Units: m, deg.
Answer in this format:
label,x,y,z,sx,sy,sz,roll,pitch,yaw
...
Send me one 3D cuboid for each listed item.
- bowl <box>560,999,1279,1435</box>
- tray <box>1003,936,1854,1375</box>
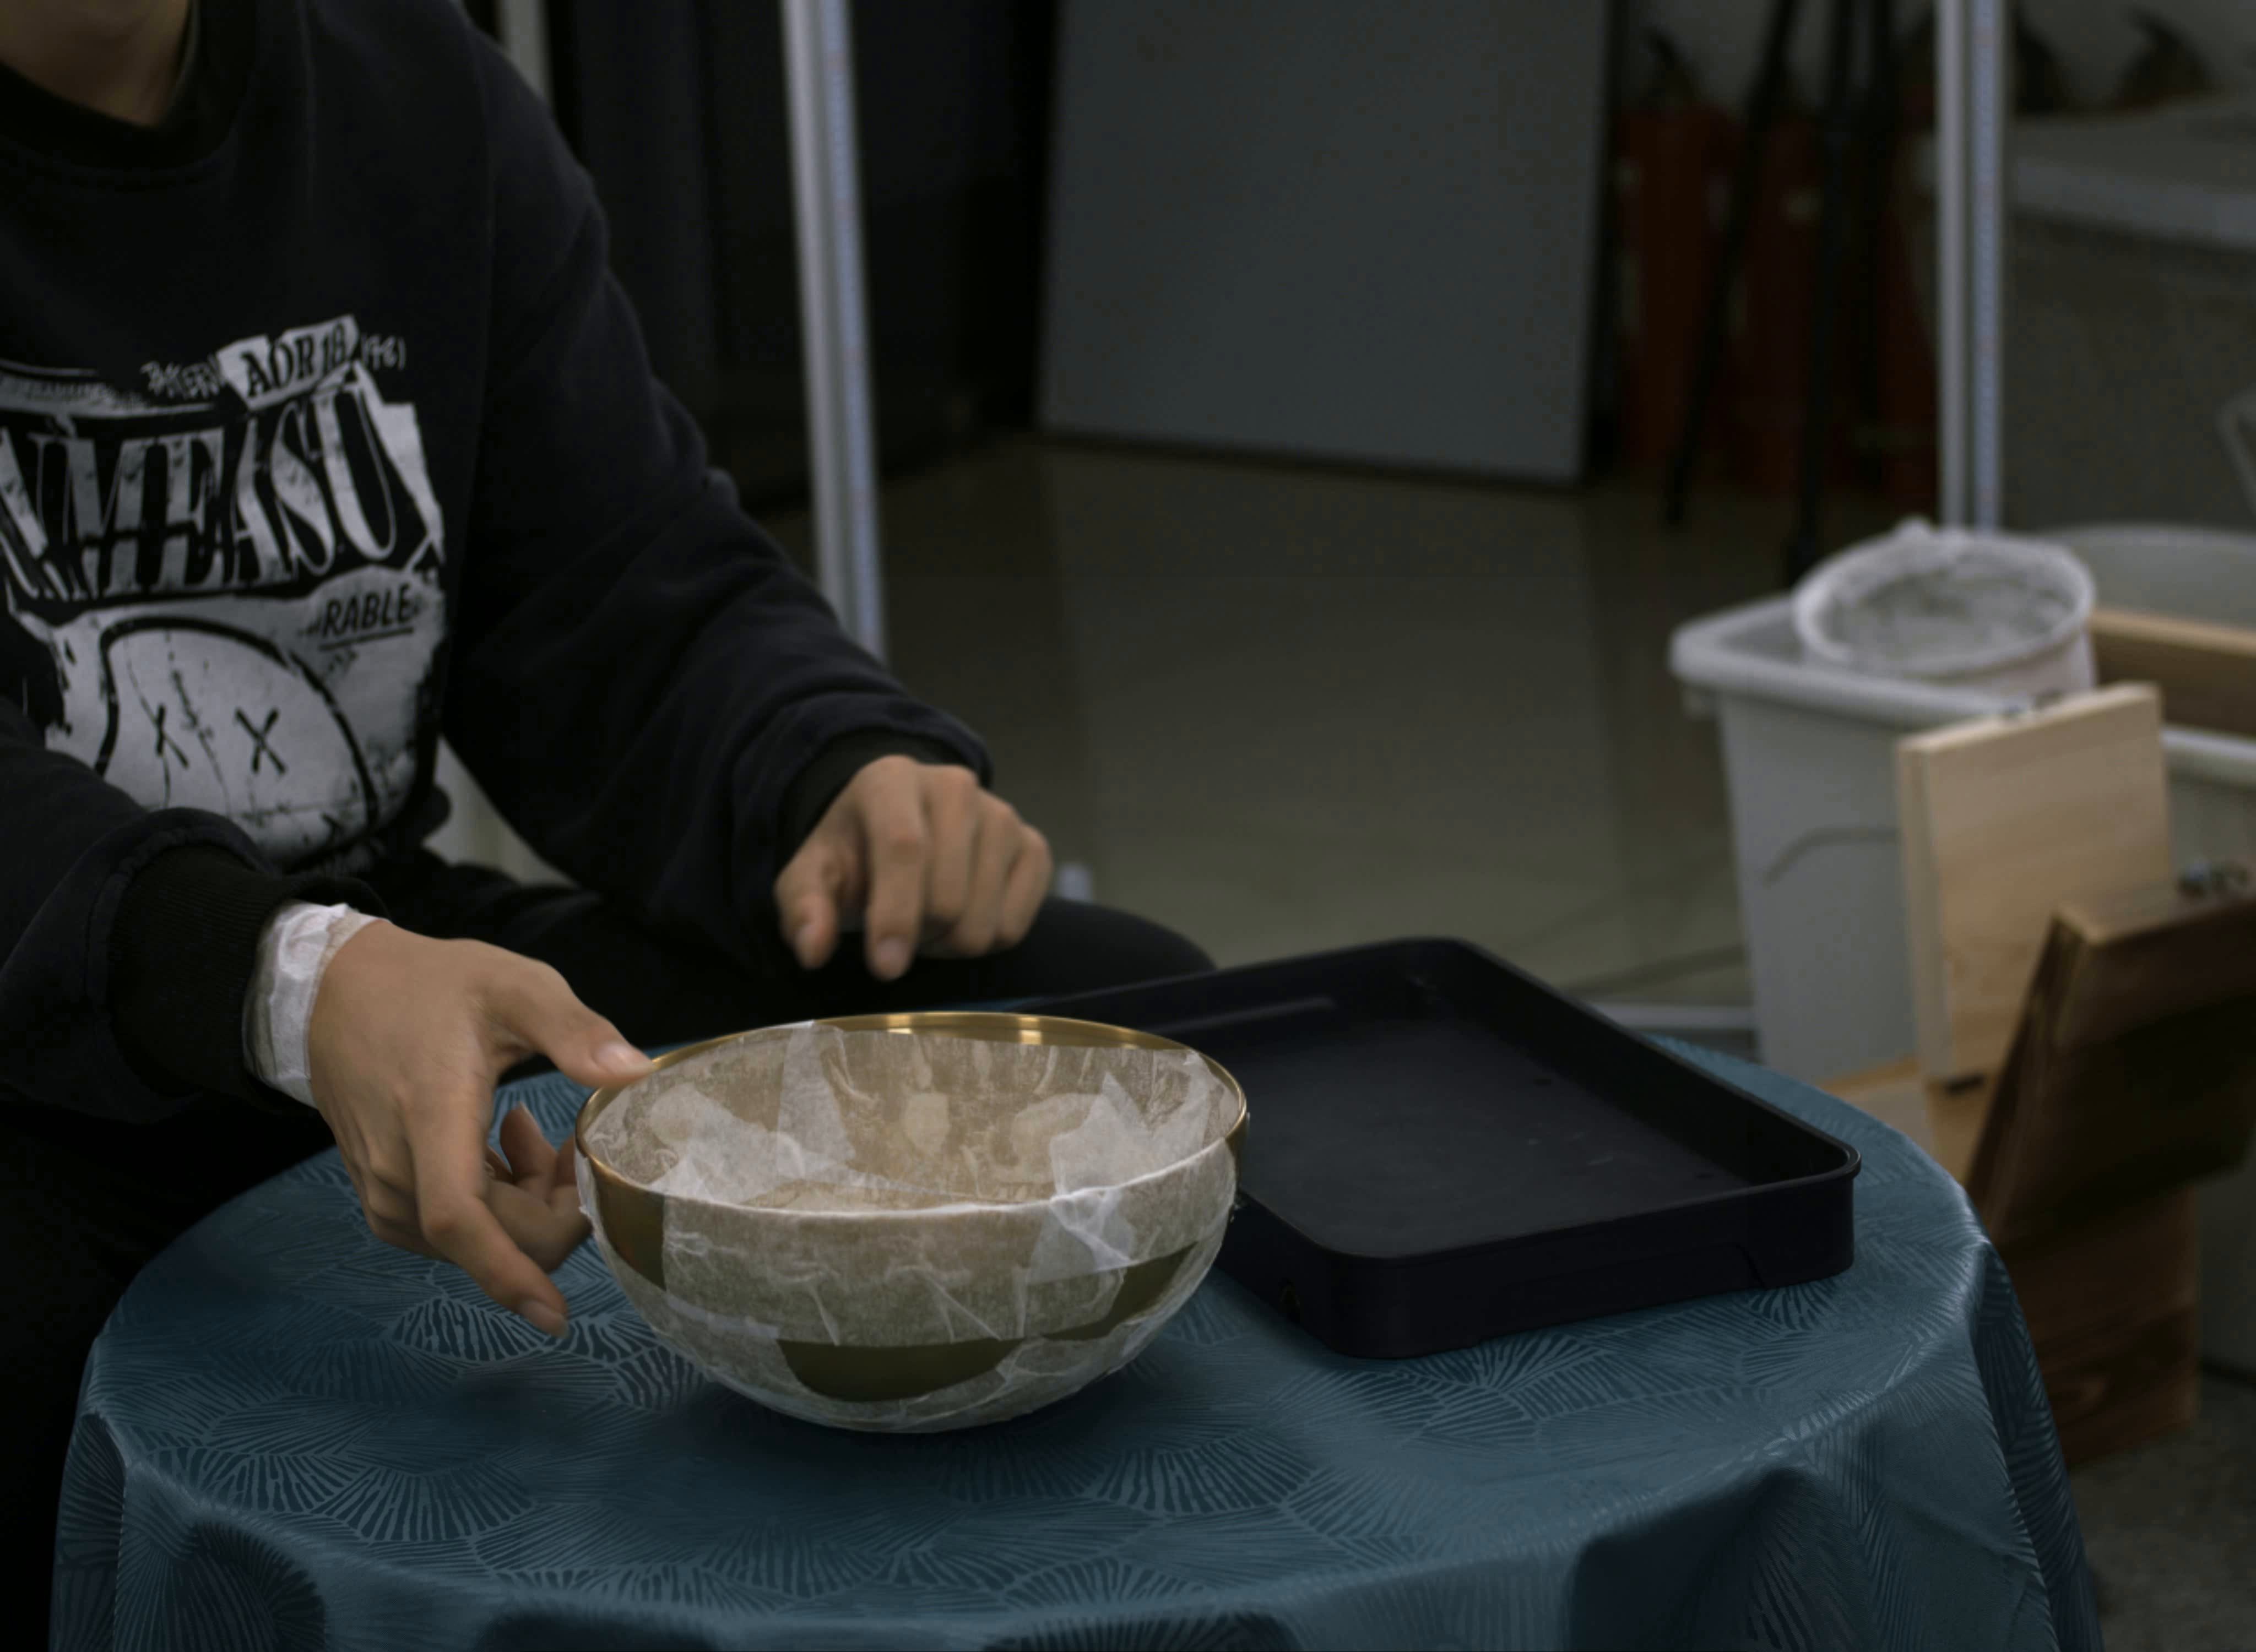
label,x,y,z,sx,sy,sz,roll,pitch,yaw
bowl,-0.060,0.123,1.587,0.212,0.095,0.215,-3,14,0
tray,0.090,0.102,1.757,0.180,0.037,0.321,-8,16,-18
